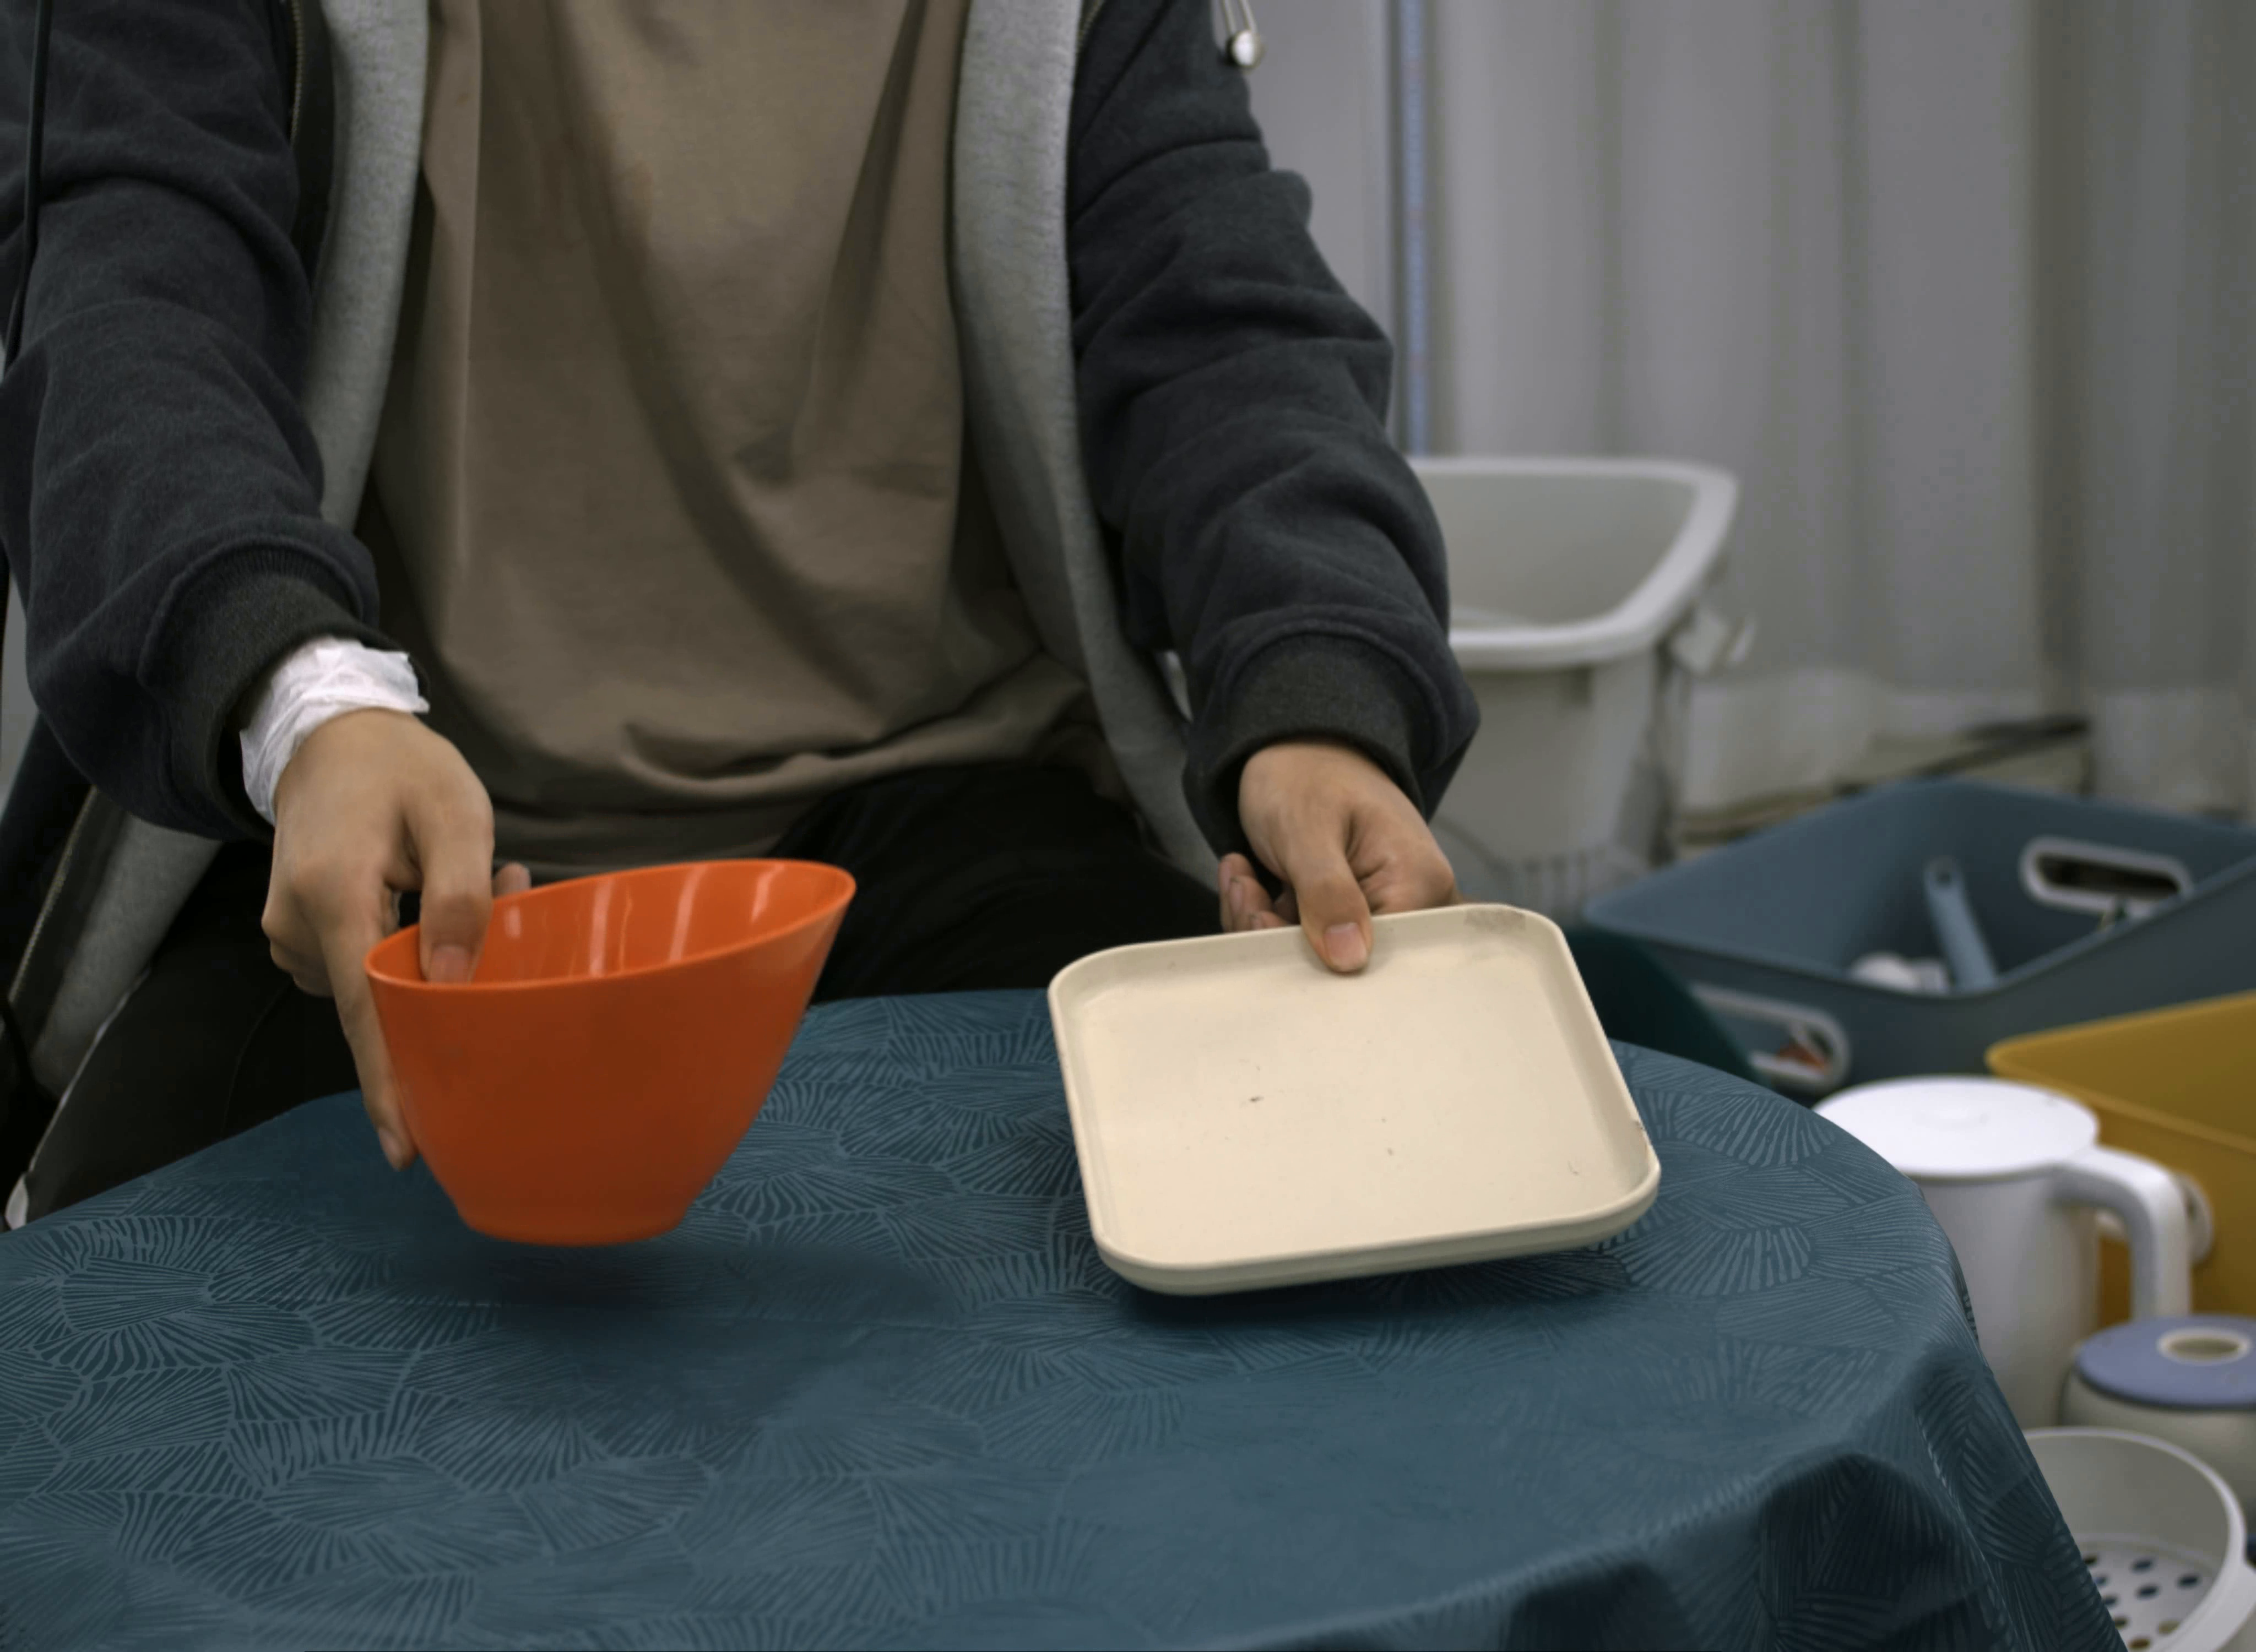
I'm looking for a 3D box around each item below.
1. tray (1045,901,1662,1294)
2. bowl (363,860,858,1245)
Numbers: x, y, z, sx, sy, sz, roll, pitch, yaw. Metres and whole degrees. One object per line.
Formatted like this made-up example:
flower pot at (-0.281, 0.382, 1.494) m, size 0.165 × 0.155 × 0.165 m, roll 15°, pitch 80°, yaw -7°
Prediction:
tray at (0.066, 0.083, 1.695) m, size 0.170 × 0.017 × 0.242 m, roll -7°, pitch 22°, yaw -2°
bowl at (-0.155, 0.068, 1.641) m, size 0.147 × 0.104 × 0.148 m, roll 2°, pitch 10°, yaw -1°
